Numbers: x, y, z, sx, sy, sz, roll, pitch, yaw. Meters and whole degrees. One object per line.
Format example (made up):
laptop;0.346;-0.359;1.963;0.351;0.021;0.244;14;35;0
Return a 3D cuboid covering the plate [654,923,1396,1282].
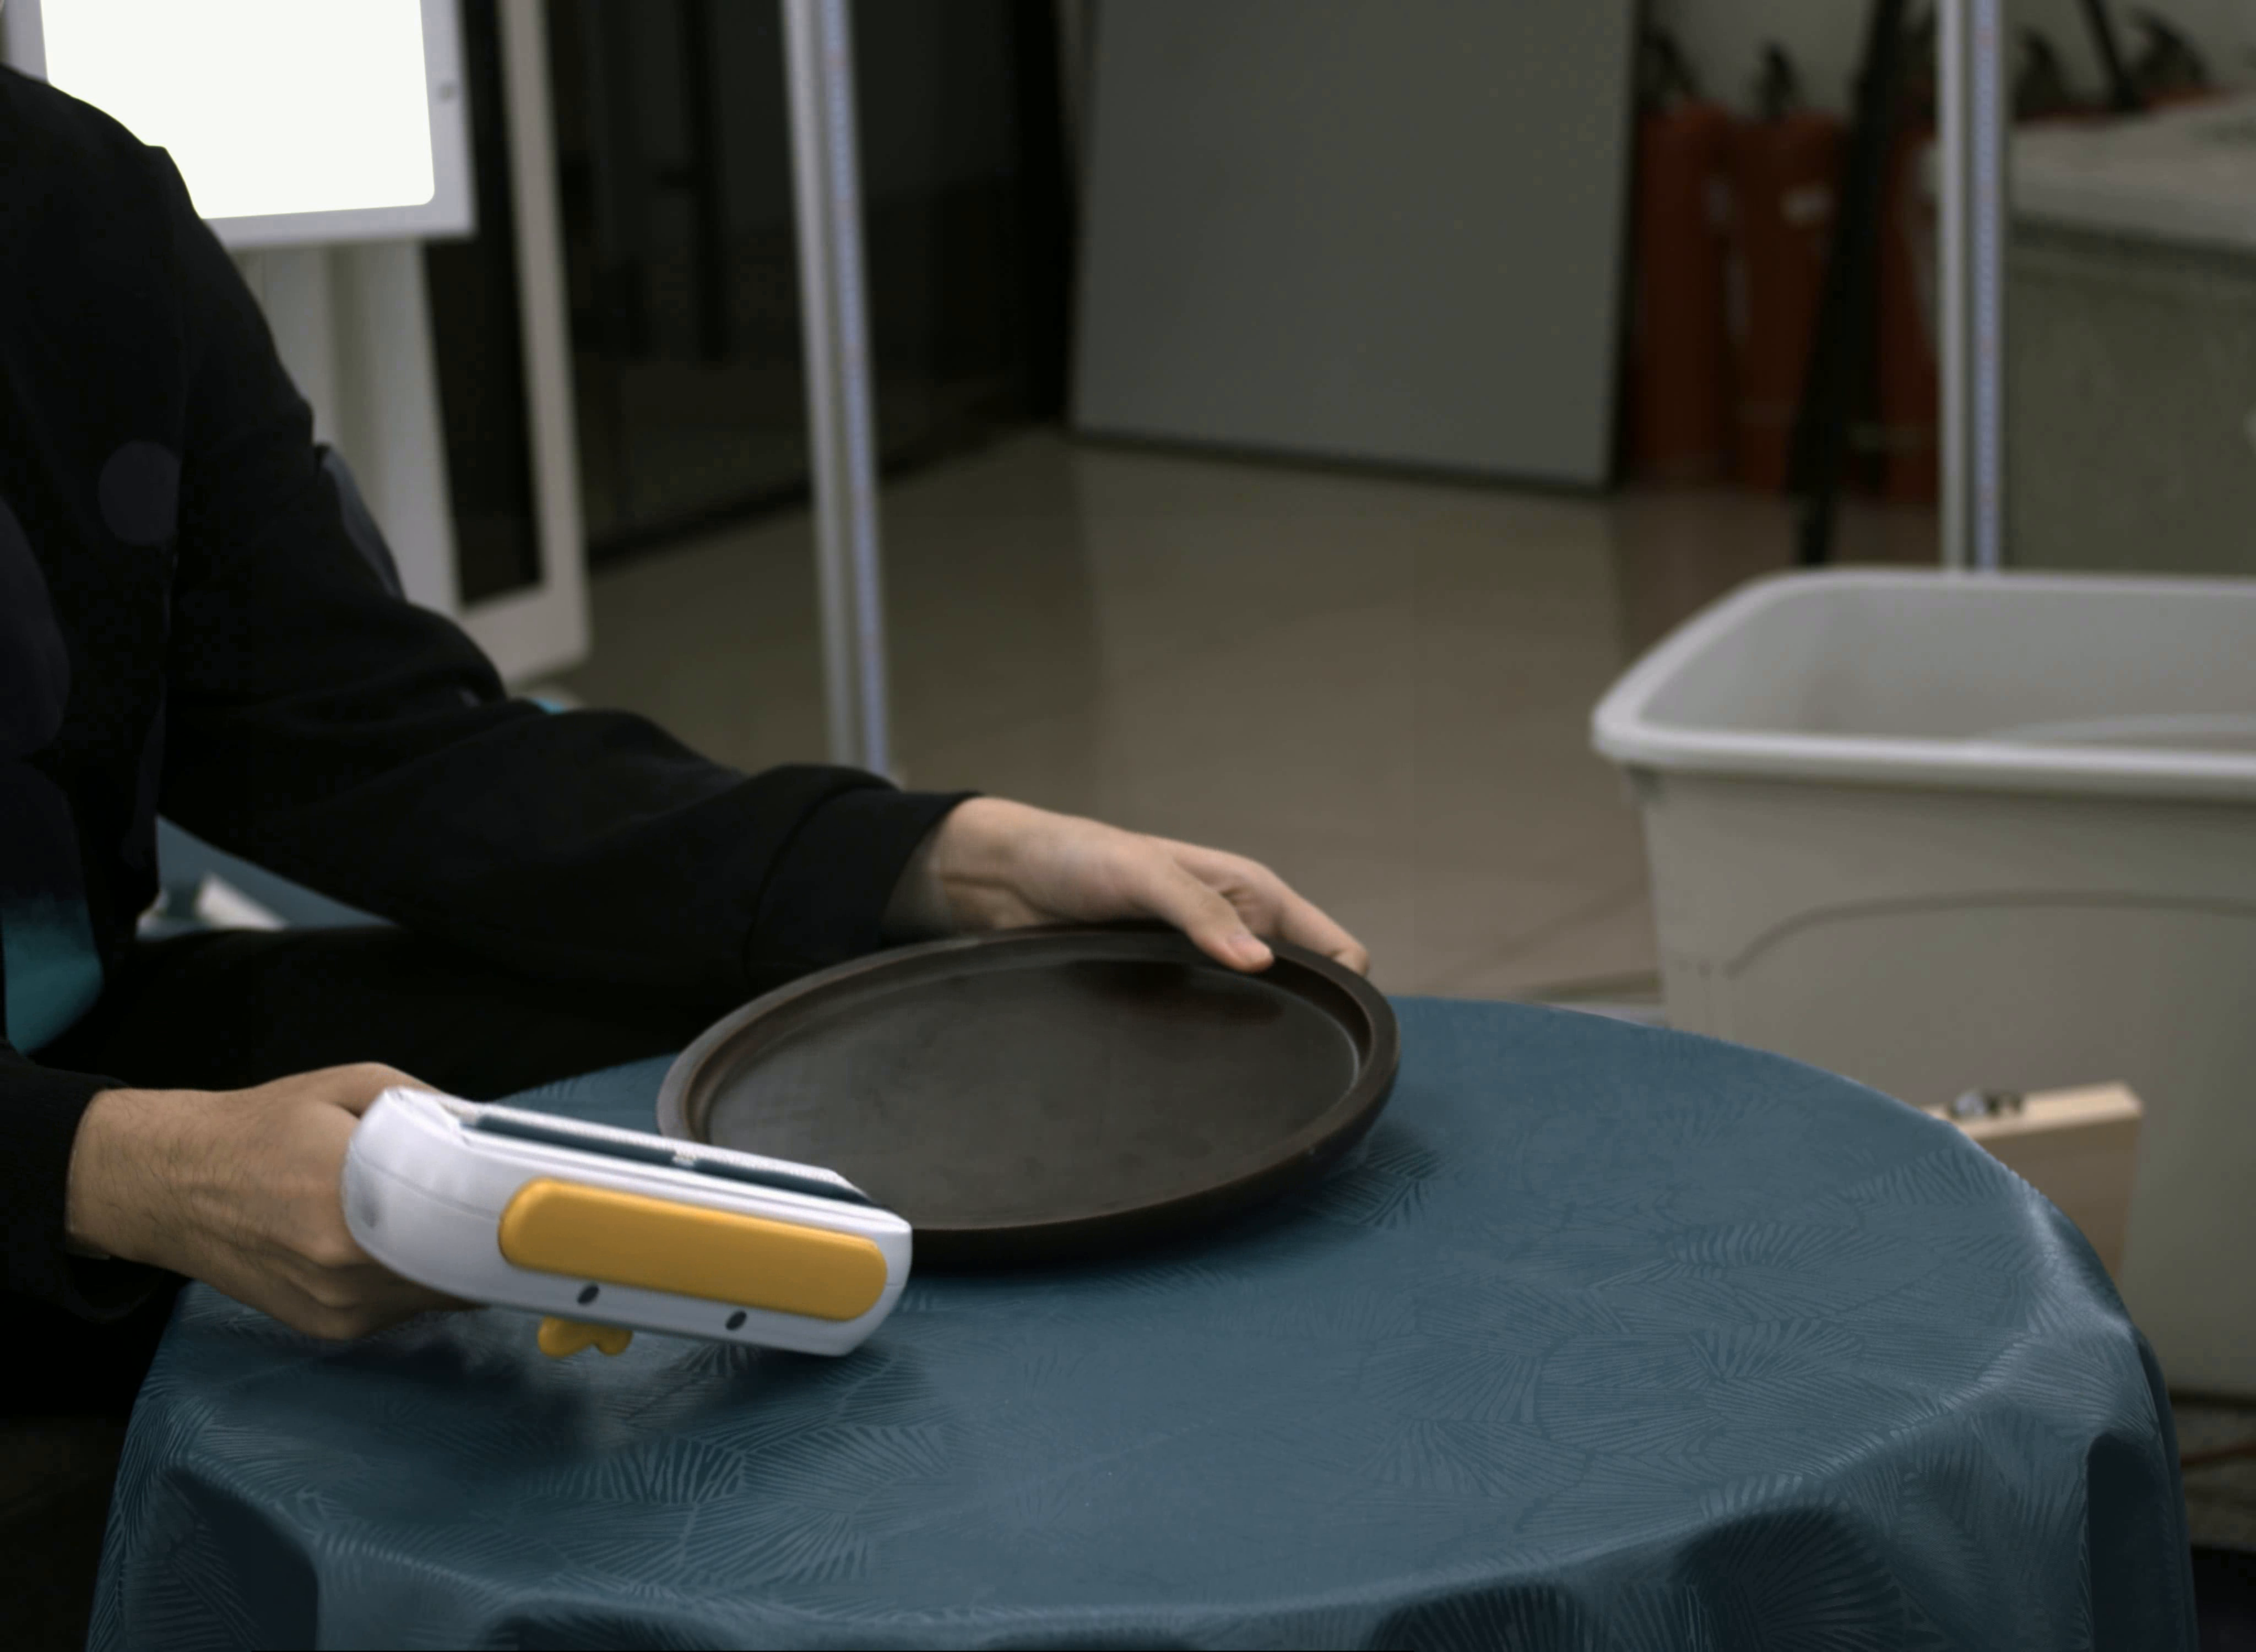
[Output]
plate;-0.034;0.090;1.804;0.252;0.029;0.255;-8;19;2

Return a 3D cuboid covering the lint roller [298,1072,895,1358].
lint roller;-0.189;0.114;1.634;0.188;0.075;0.194;11;1;-38
